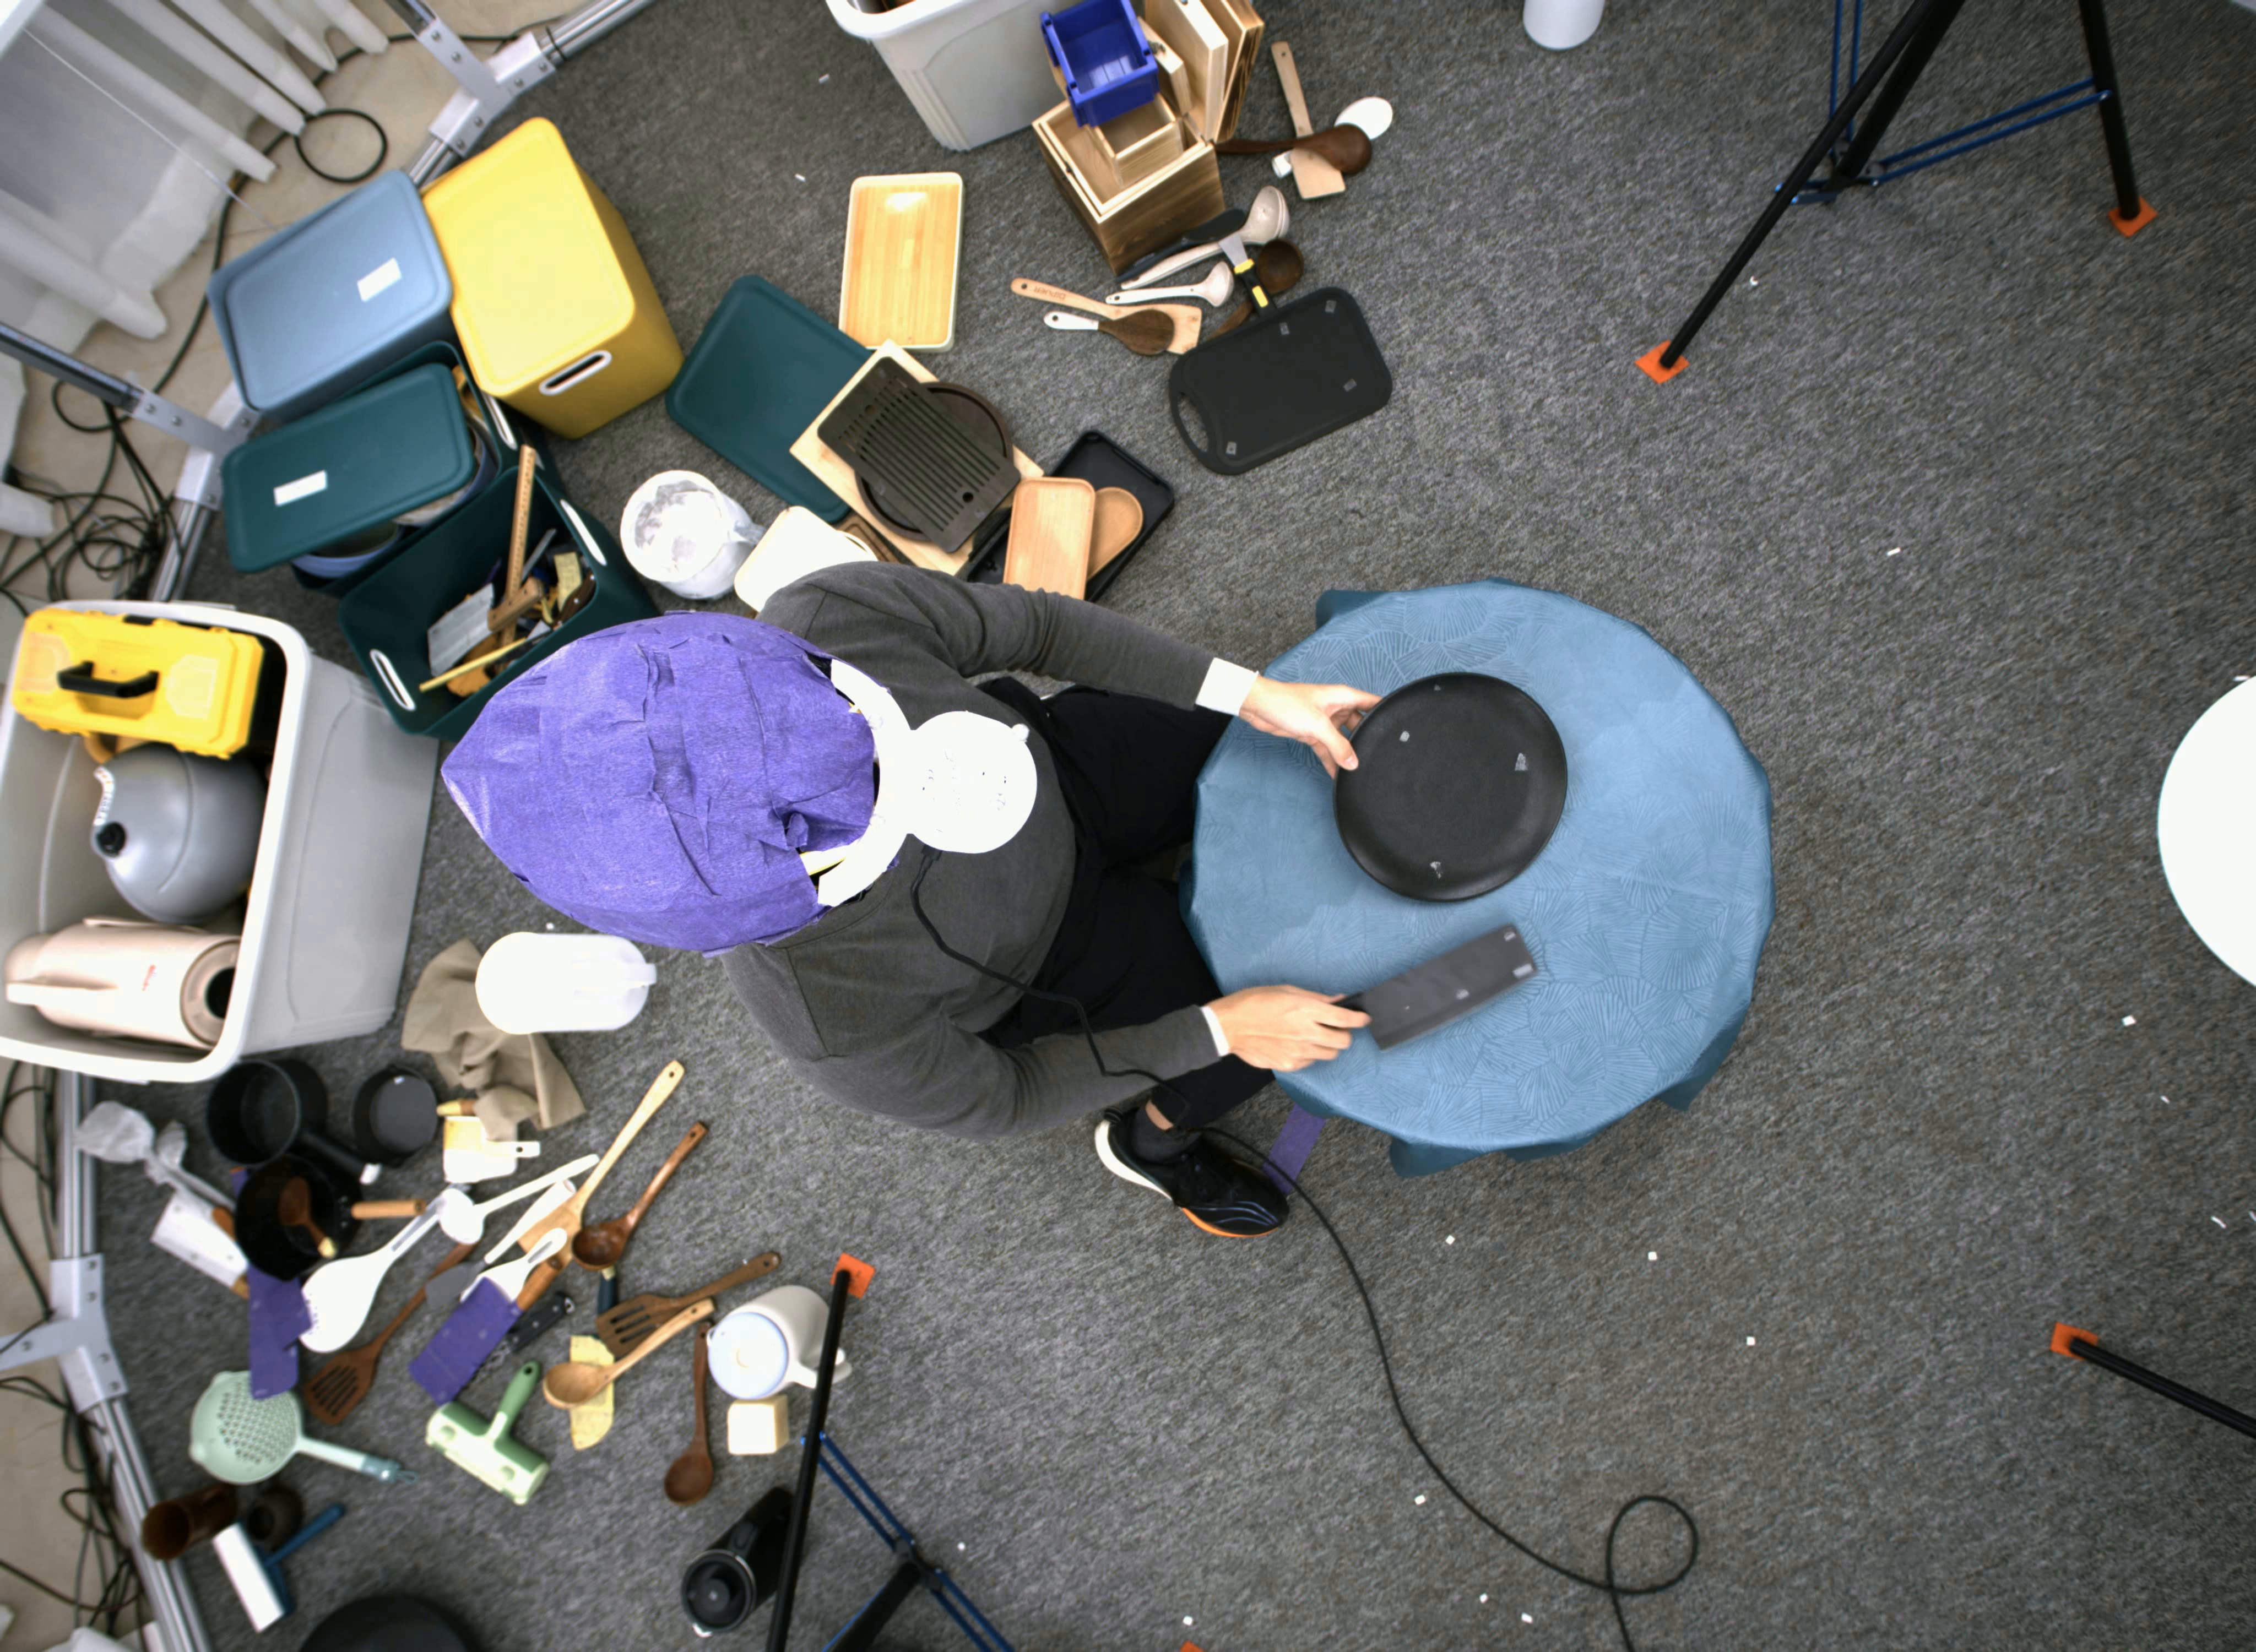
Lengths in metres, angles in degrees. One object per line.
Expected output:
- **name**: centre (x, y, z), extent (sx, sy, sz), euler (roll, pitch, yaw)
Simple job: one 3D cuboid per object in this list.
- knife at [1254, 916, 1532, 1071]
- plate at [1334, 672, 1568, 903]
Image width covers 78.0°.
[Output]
- **knife**: centre (0.266, 0.183, 1.421), extent (0.305, 0.020, 0.081), euler (-24, 94, 12)
- **plate**: centre (0.328, -0.041, 1.404), extent (0.244, 0.023, 0.248), euler (-1, 109, -4)
